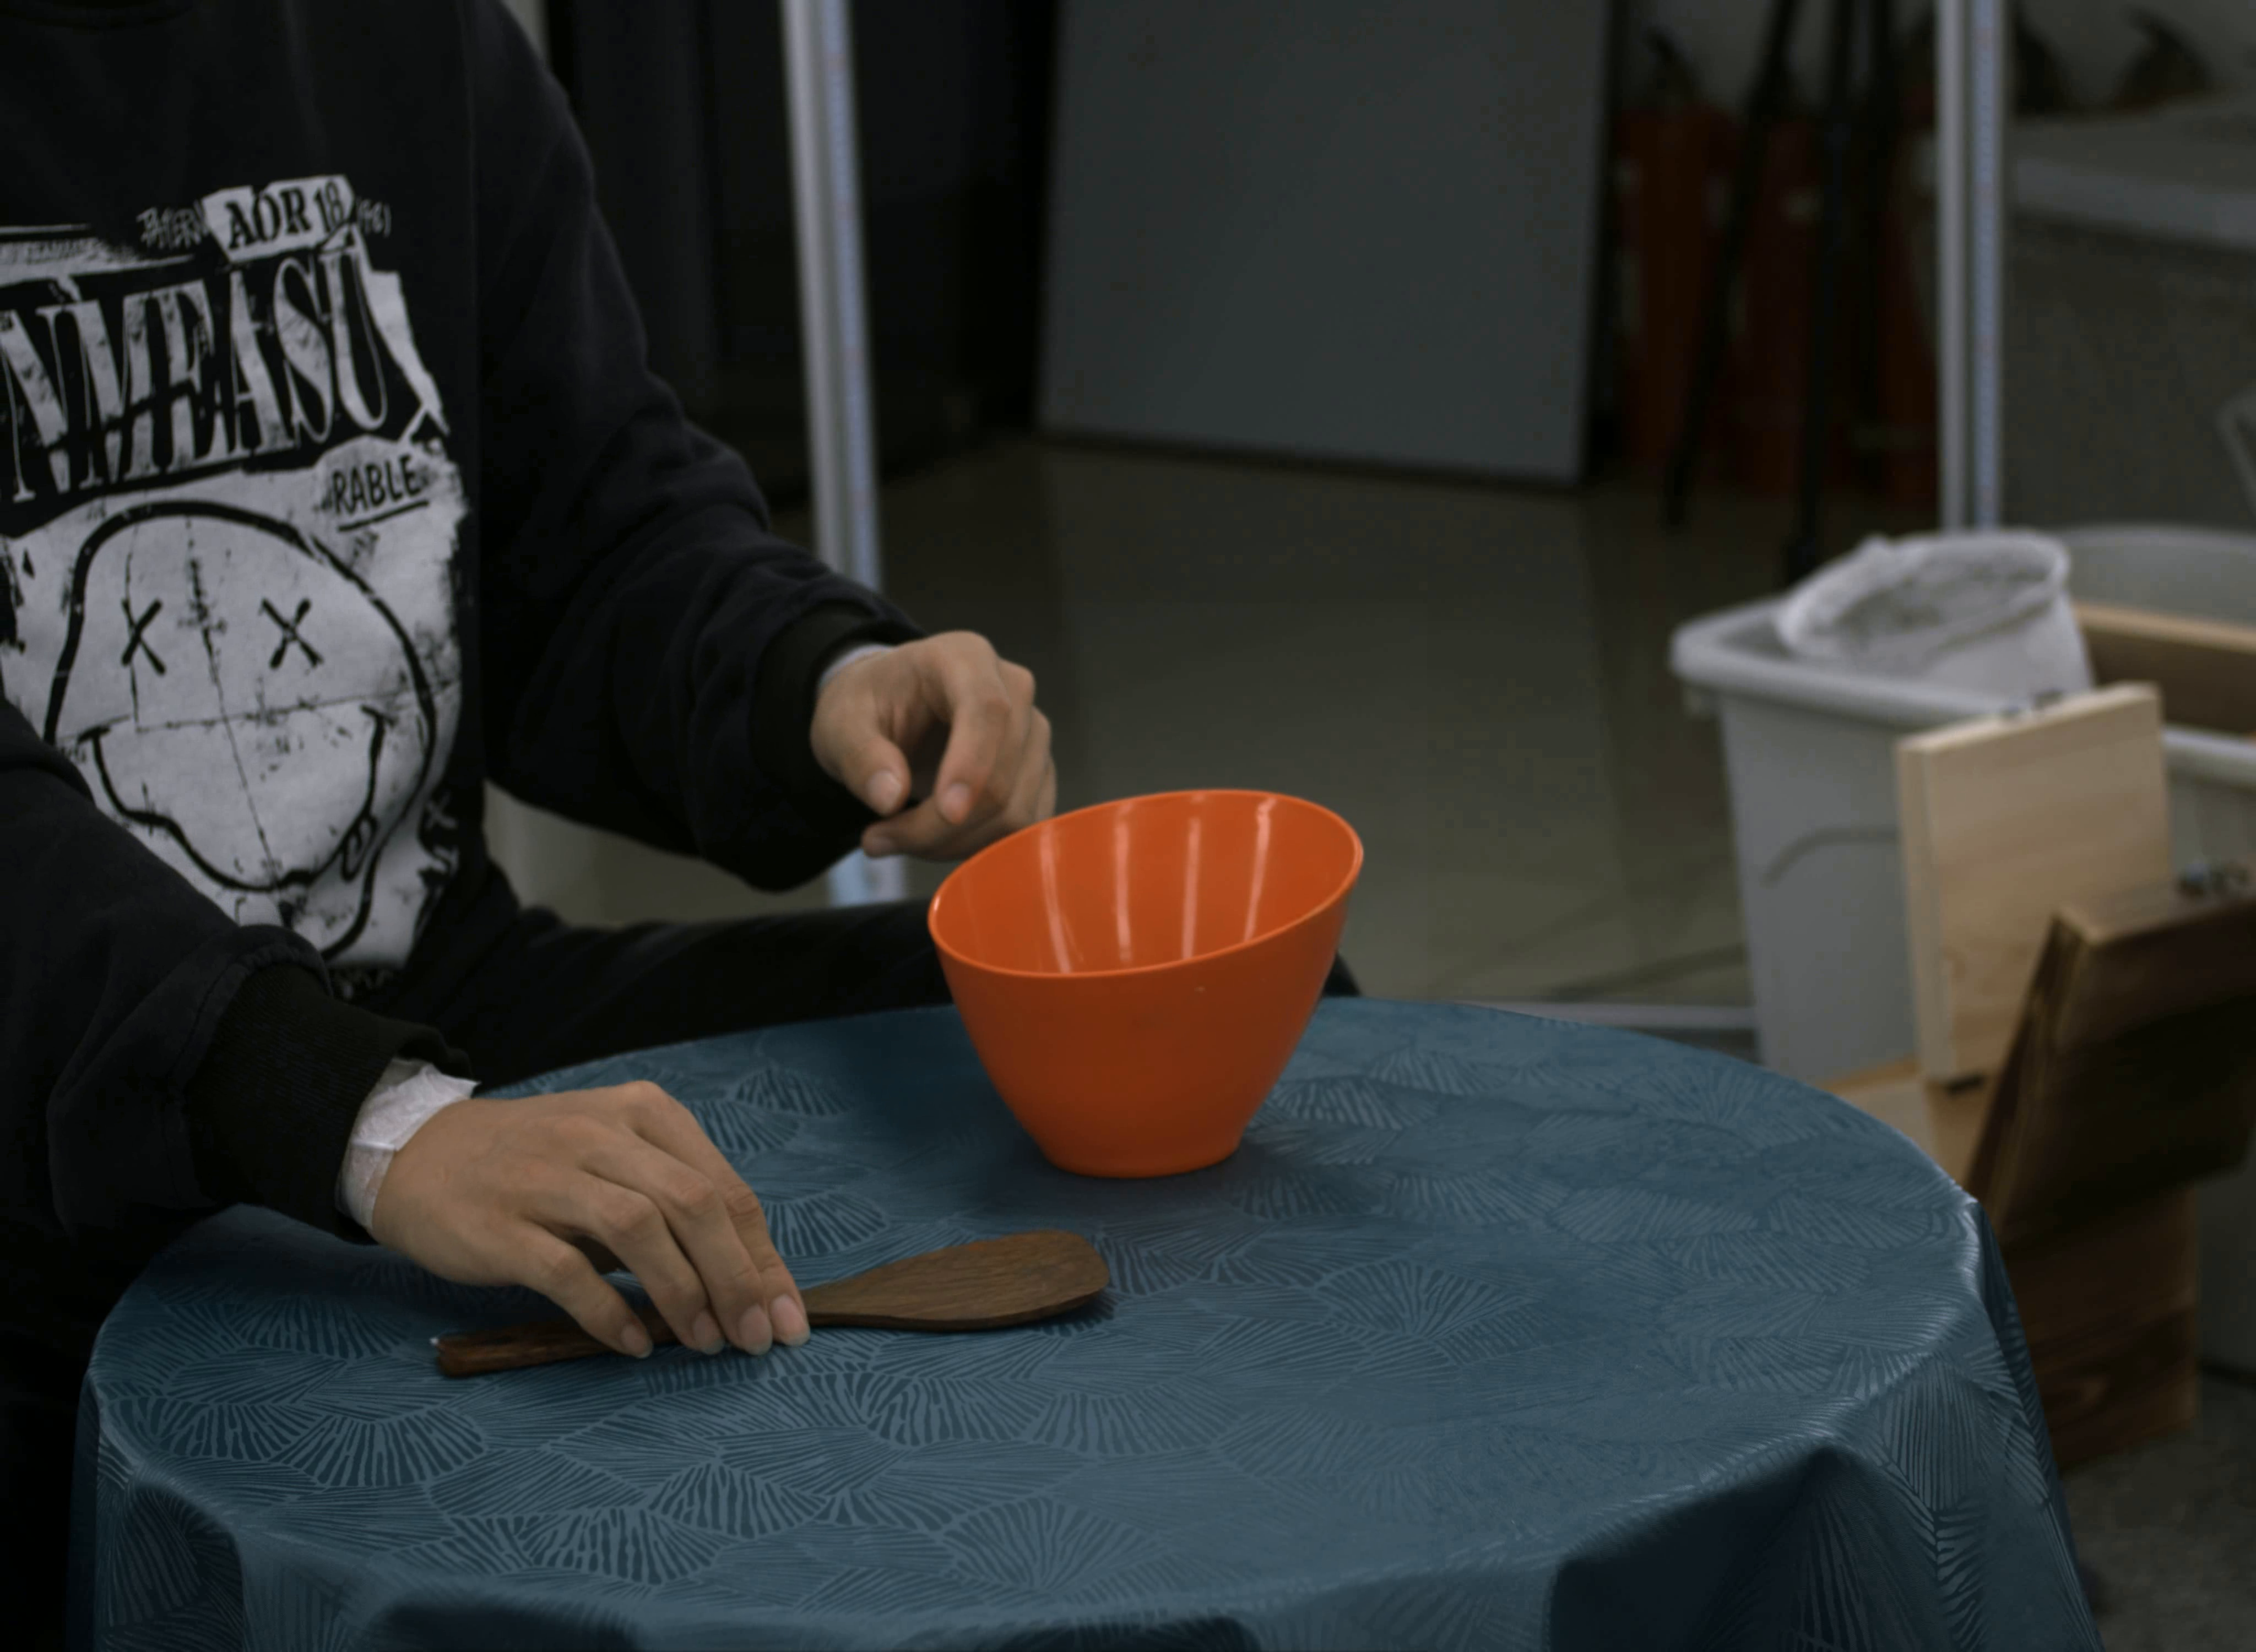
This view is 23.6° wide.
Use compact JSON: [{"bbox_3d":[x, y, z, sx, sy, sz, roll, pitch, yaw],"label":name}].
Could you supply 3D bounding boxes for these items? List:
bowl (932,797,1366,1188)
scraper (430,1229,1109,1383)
[{"bbox_3d":[0.009,0.059,1.809,0.146,0.106,0.148,-4,14,0],"label":"bowl"},{"bbox_3d":[-0.110,0.152,1.665,0.207,0.011,0.076,-8,13,-10],"label":"scraper"}]
